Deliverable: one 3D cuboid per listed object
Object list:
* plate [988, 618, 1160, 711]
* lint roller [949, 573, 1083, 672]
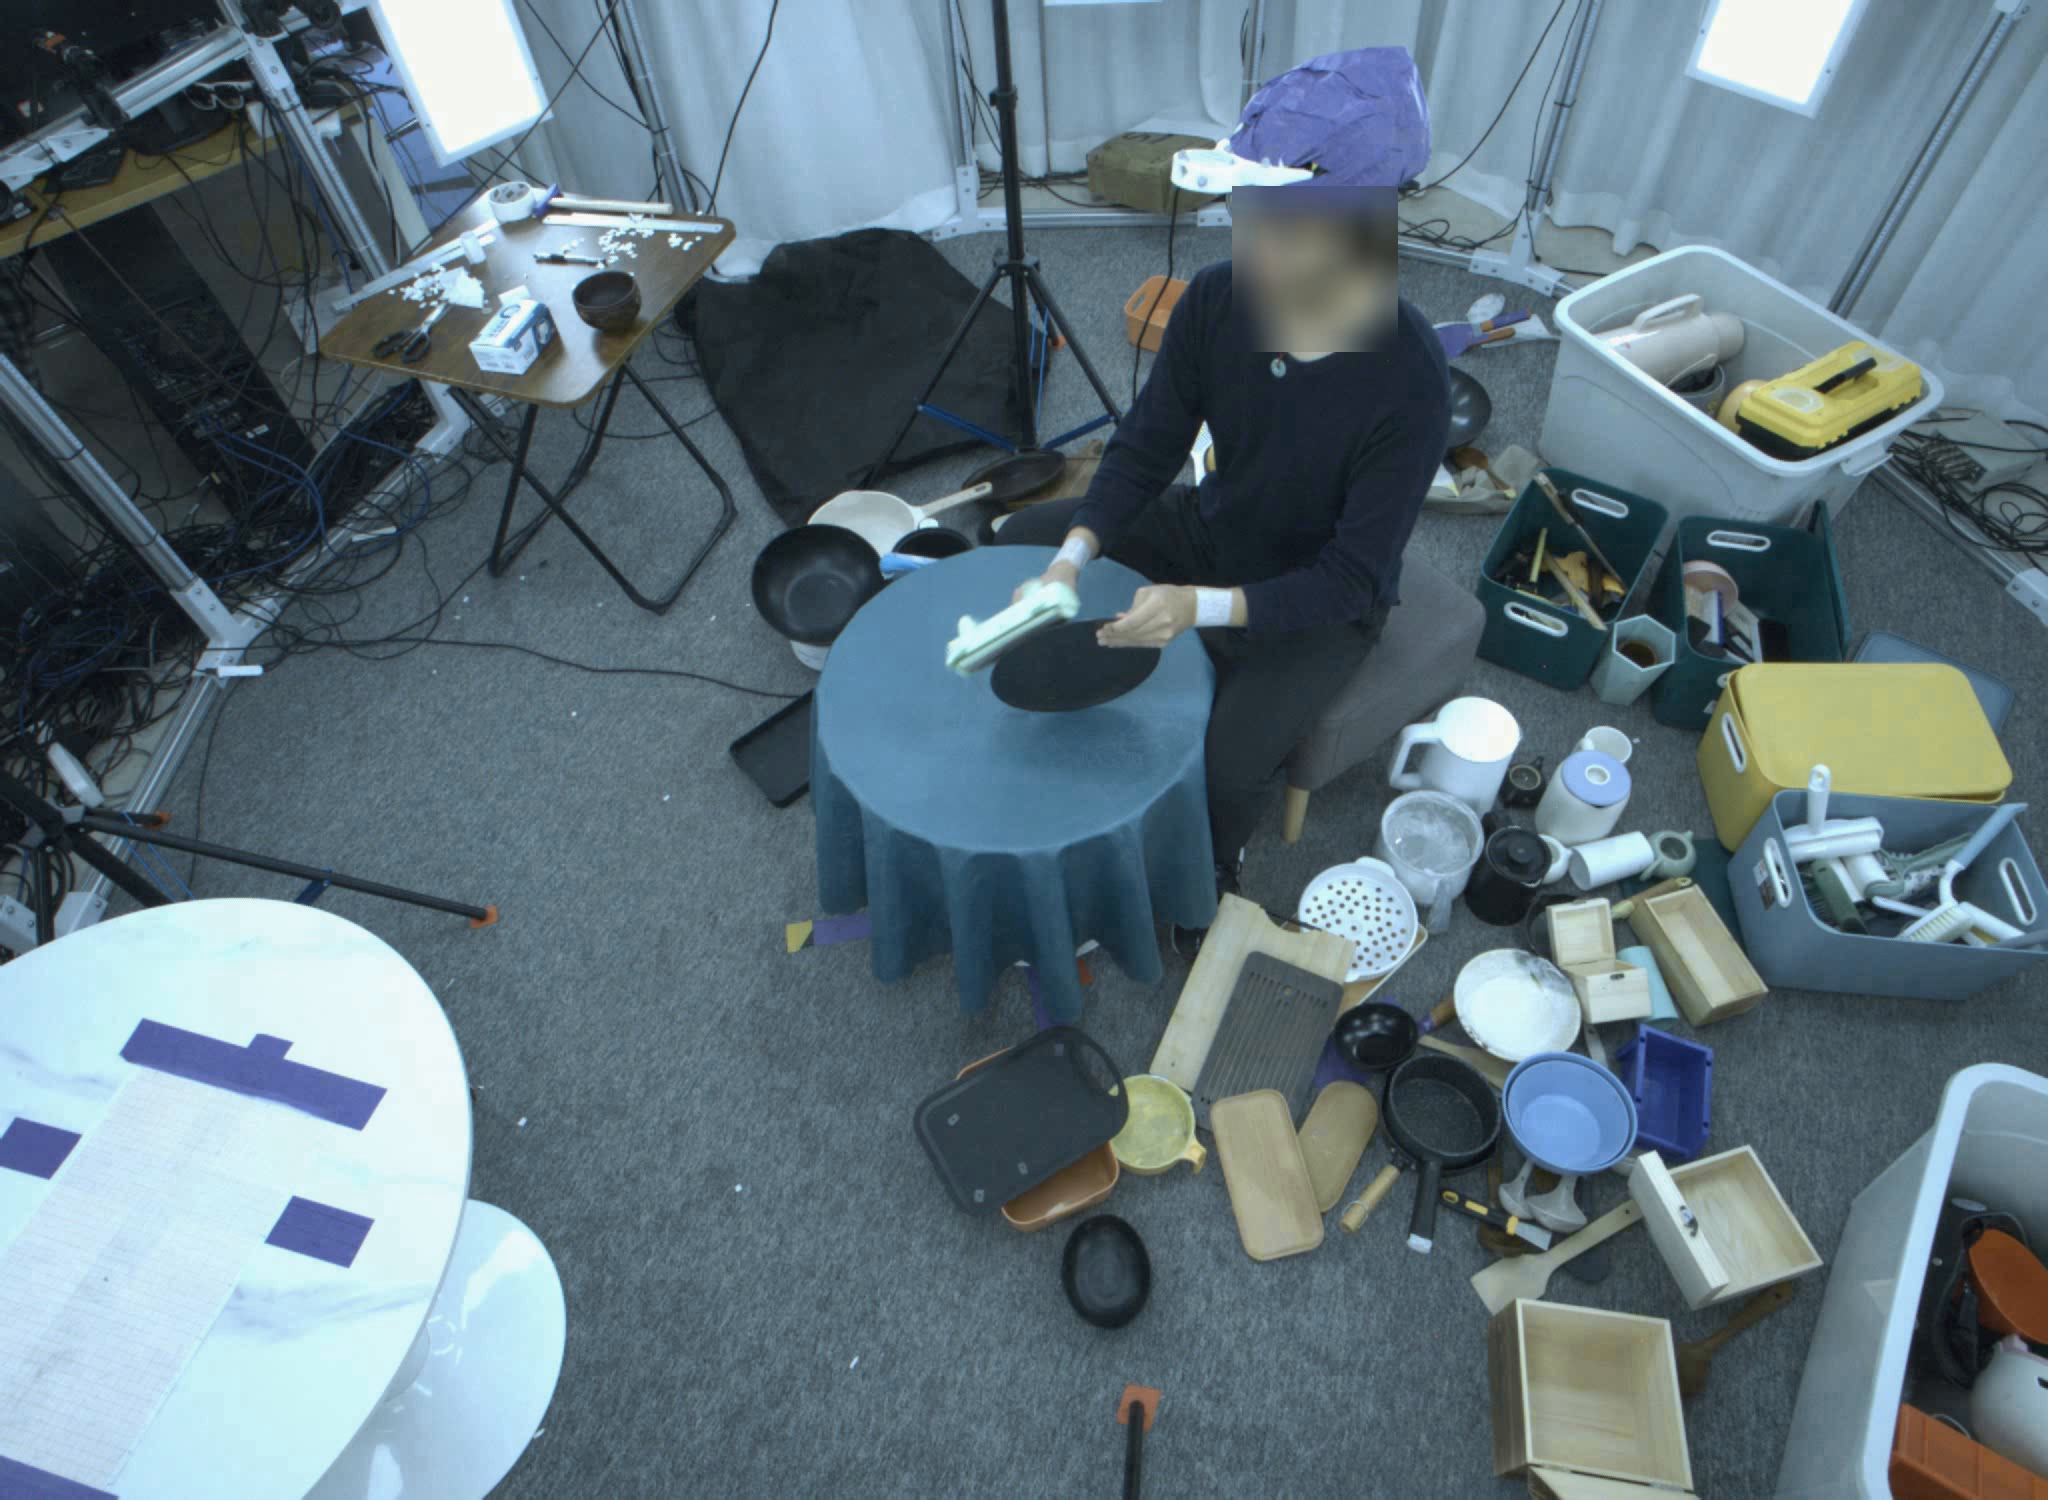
[{"bbox_3d":[0.068,-0.122,1.721,0.245,0.246,0.023,-10,64,-4],"label":"plate"},{"bbox_3d":[-0.004,-0.200,1.701,0.196,0.083,0.183,-26,20,27],"label":"lint roller"}]
